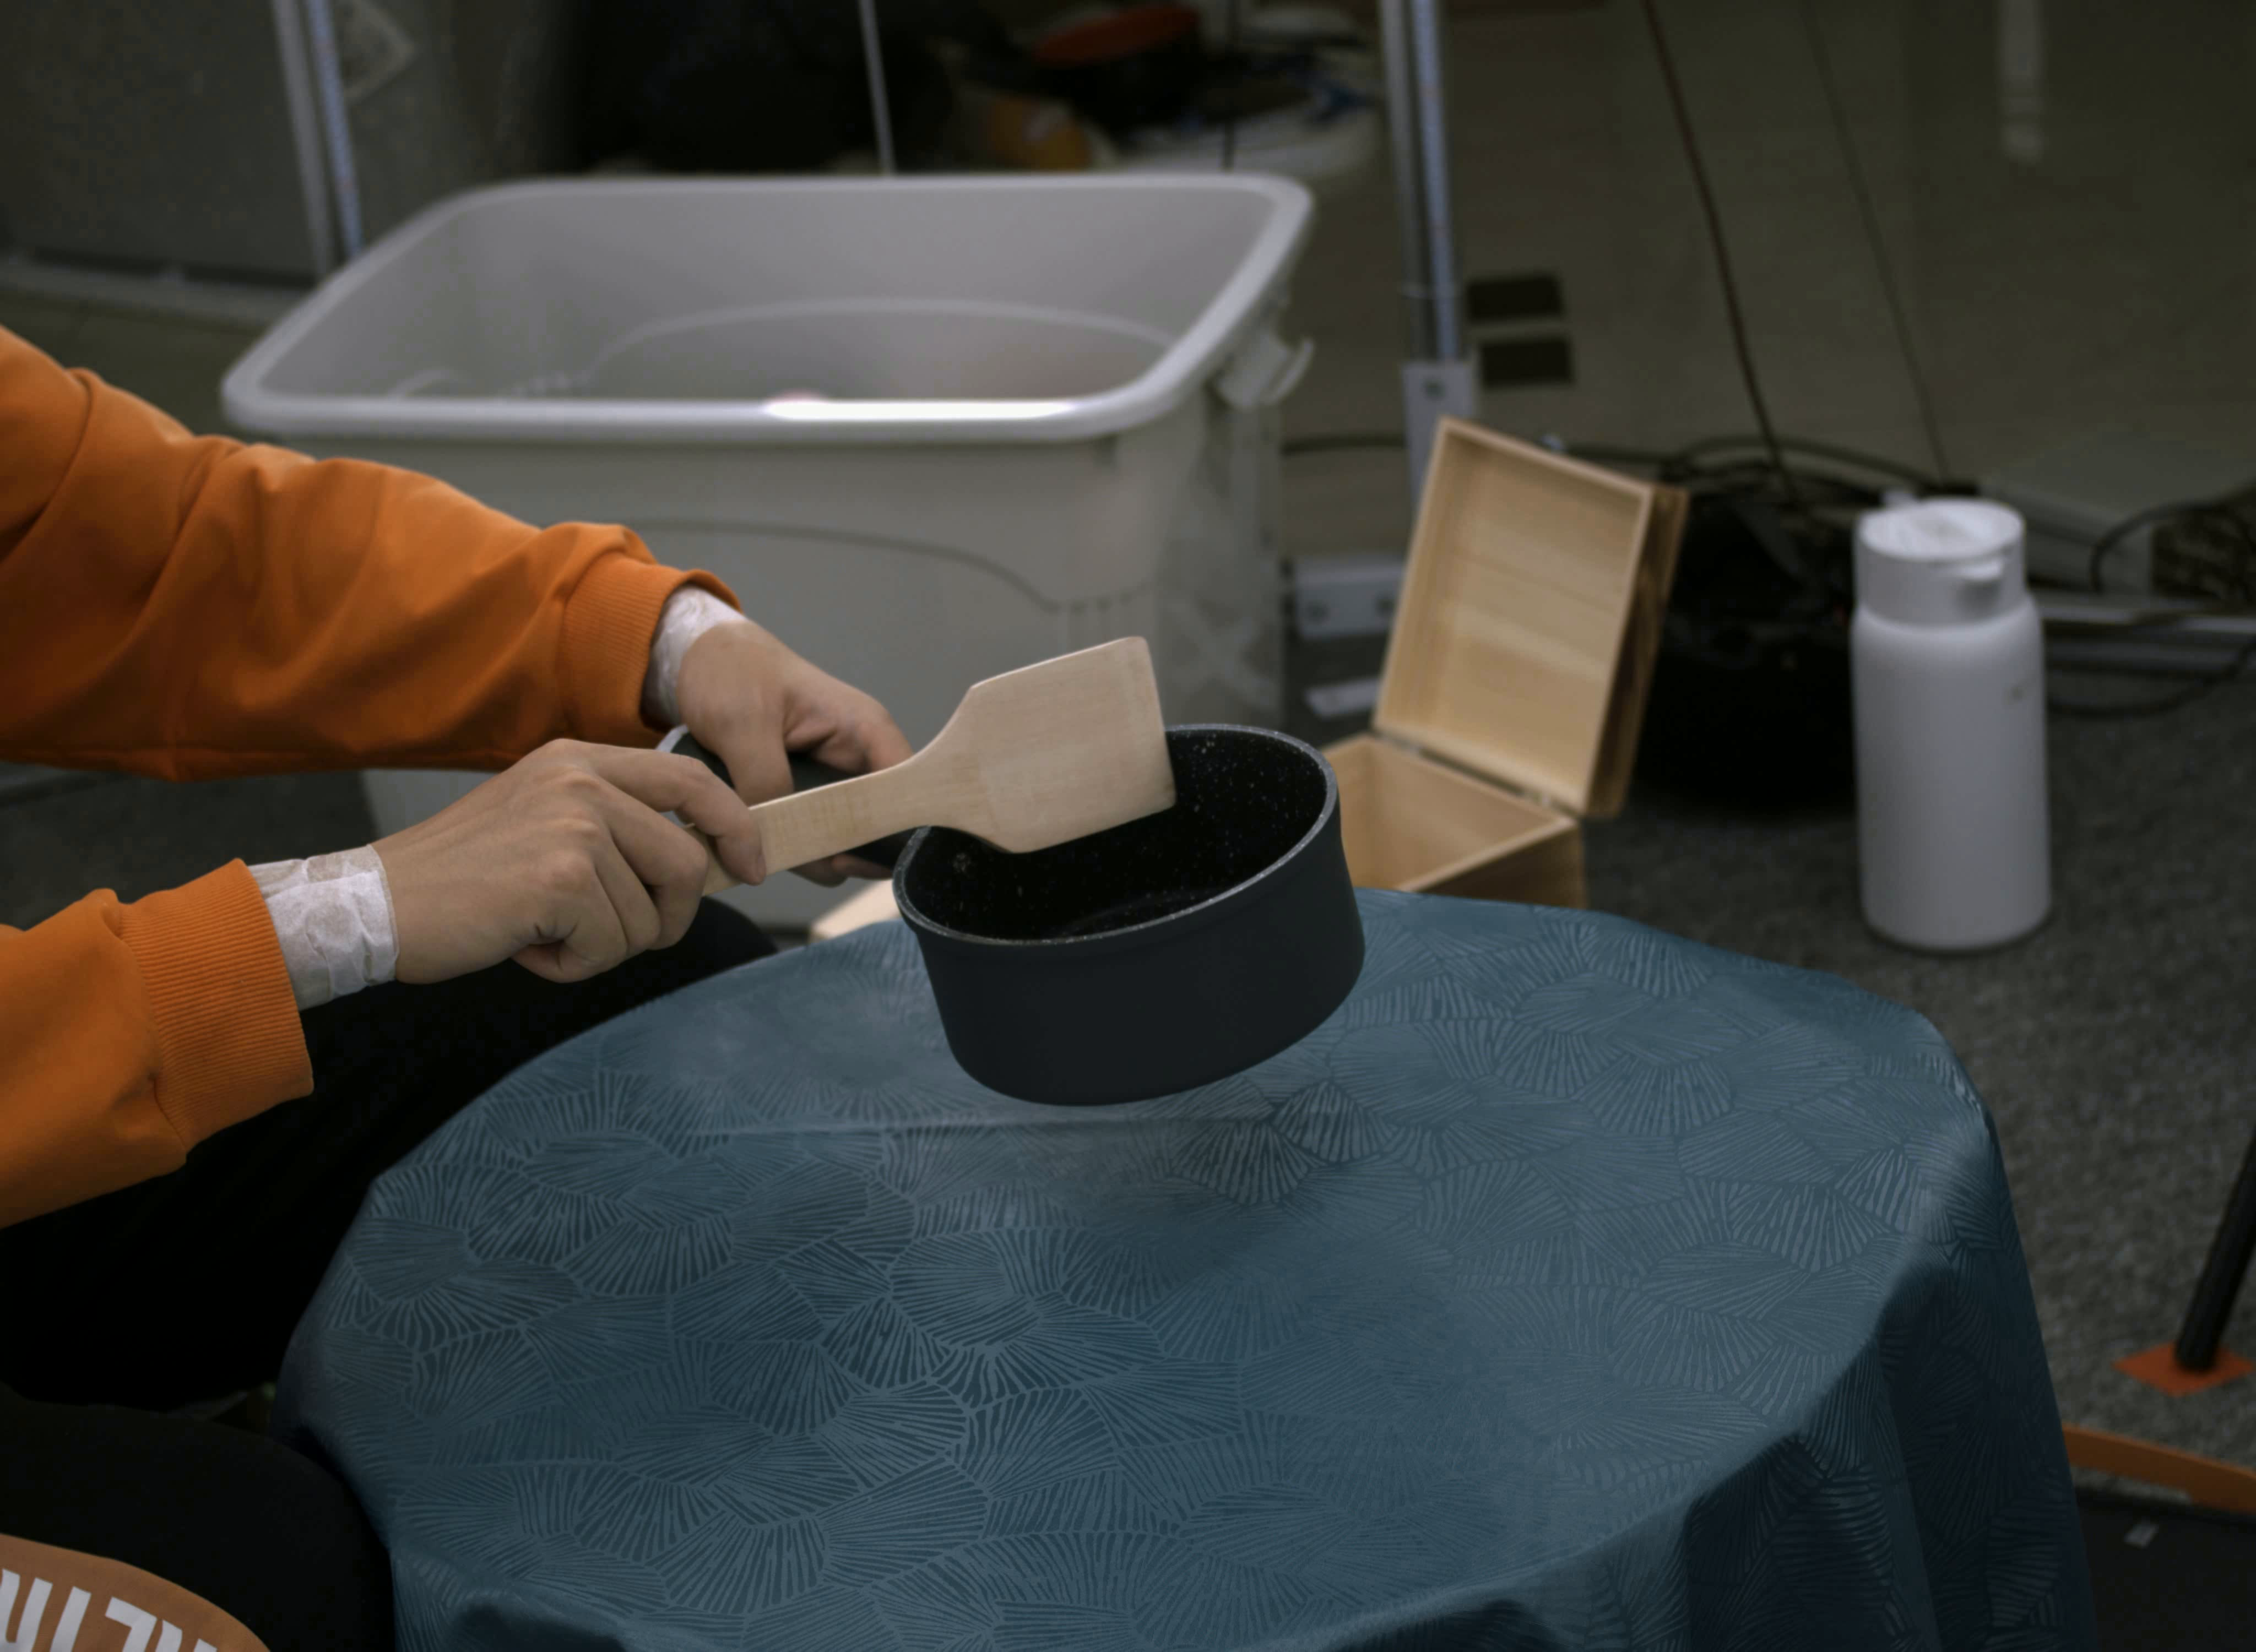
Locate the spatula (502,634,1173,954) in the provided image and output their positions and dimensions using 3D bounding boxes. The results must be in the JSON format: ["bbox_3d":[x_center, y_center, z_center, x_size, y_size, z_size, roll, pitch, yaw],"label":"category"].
[{"bbox_3d":[-0.105,-0.005,2.100,0.291,0.073,0.010,-18,16,-31],"label":"spatula"}]

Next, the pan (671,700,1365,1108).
[{"bbox_3d":[-0.054,0.019,2.185,0.326,0.088,0.170,14,37,43],"label":"pan"}]
